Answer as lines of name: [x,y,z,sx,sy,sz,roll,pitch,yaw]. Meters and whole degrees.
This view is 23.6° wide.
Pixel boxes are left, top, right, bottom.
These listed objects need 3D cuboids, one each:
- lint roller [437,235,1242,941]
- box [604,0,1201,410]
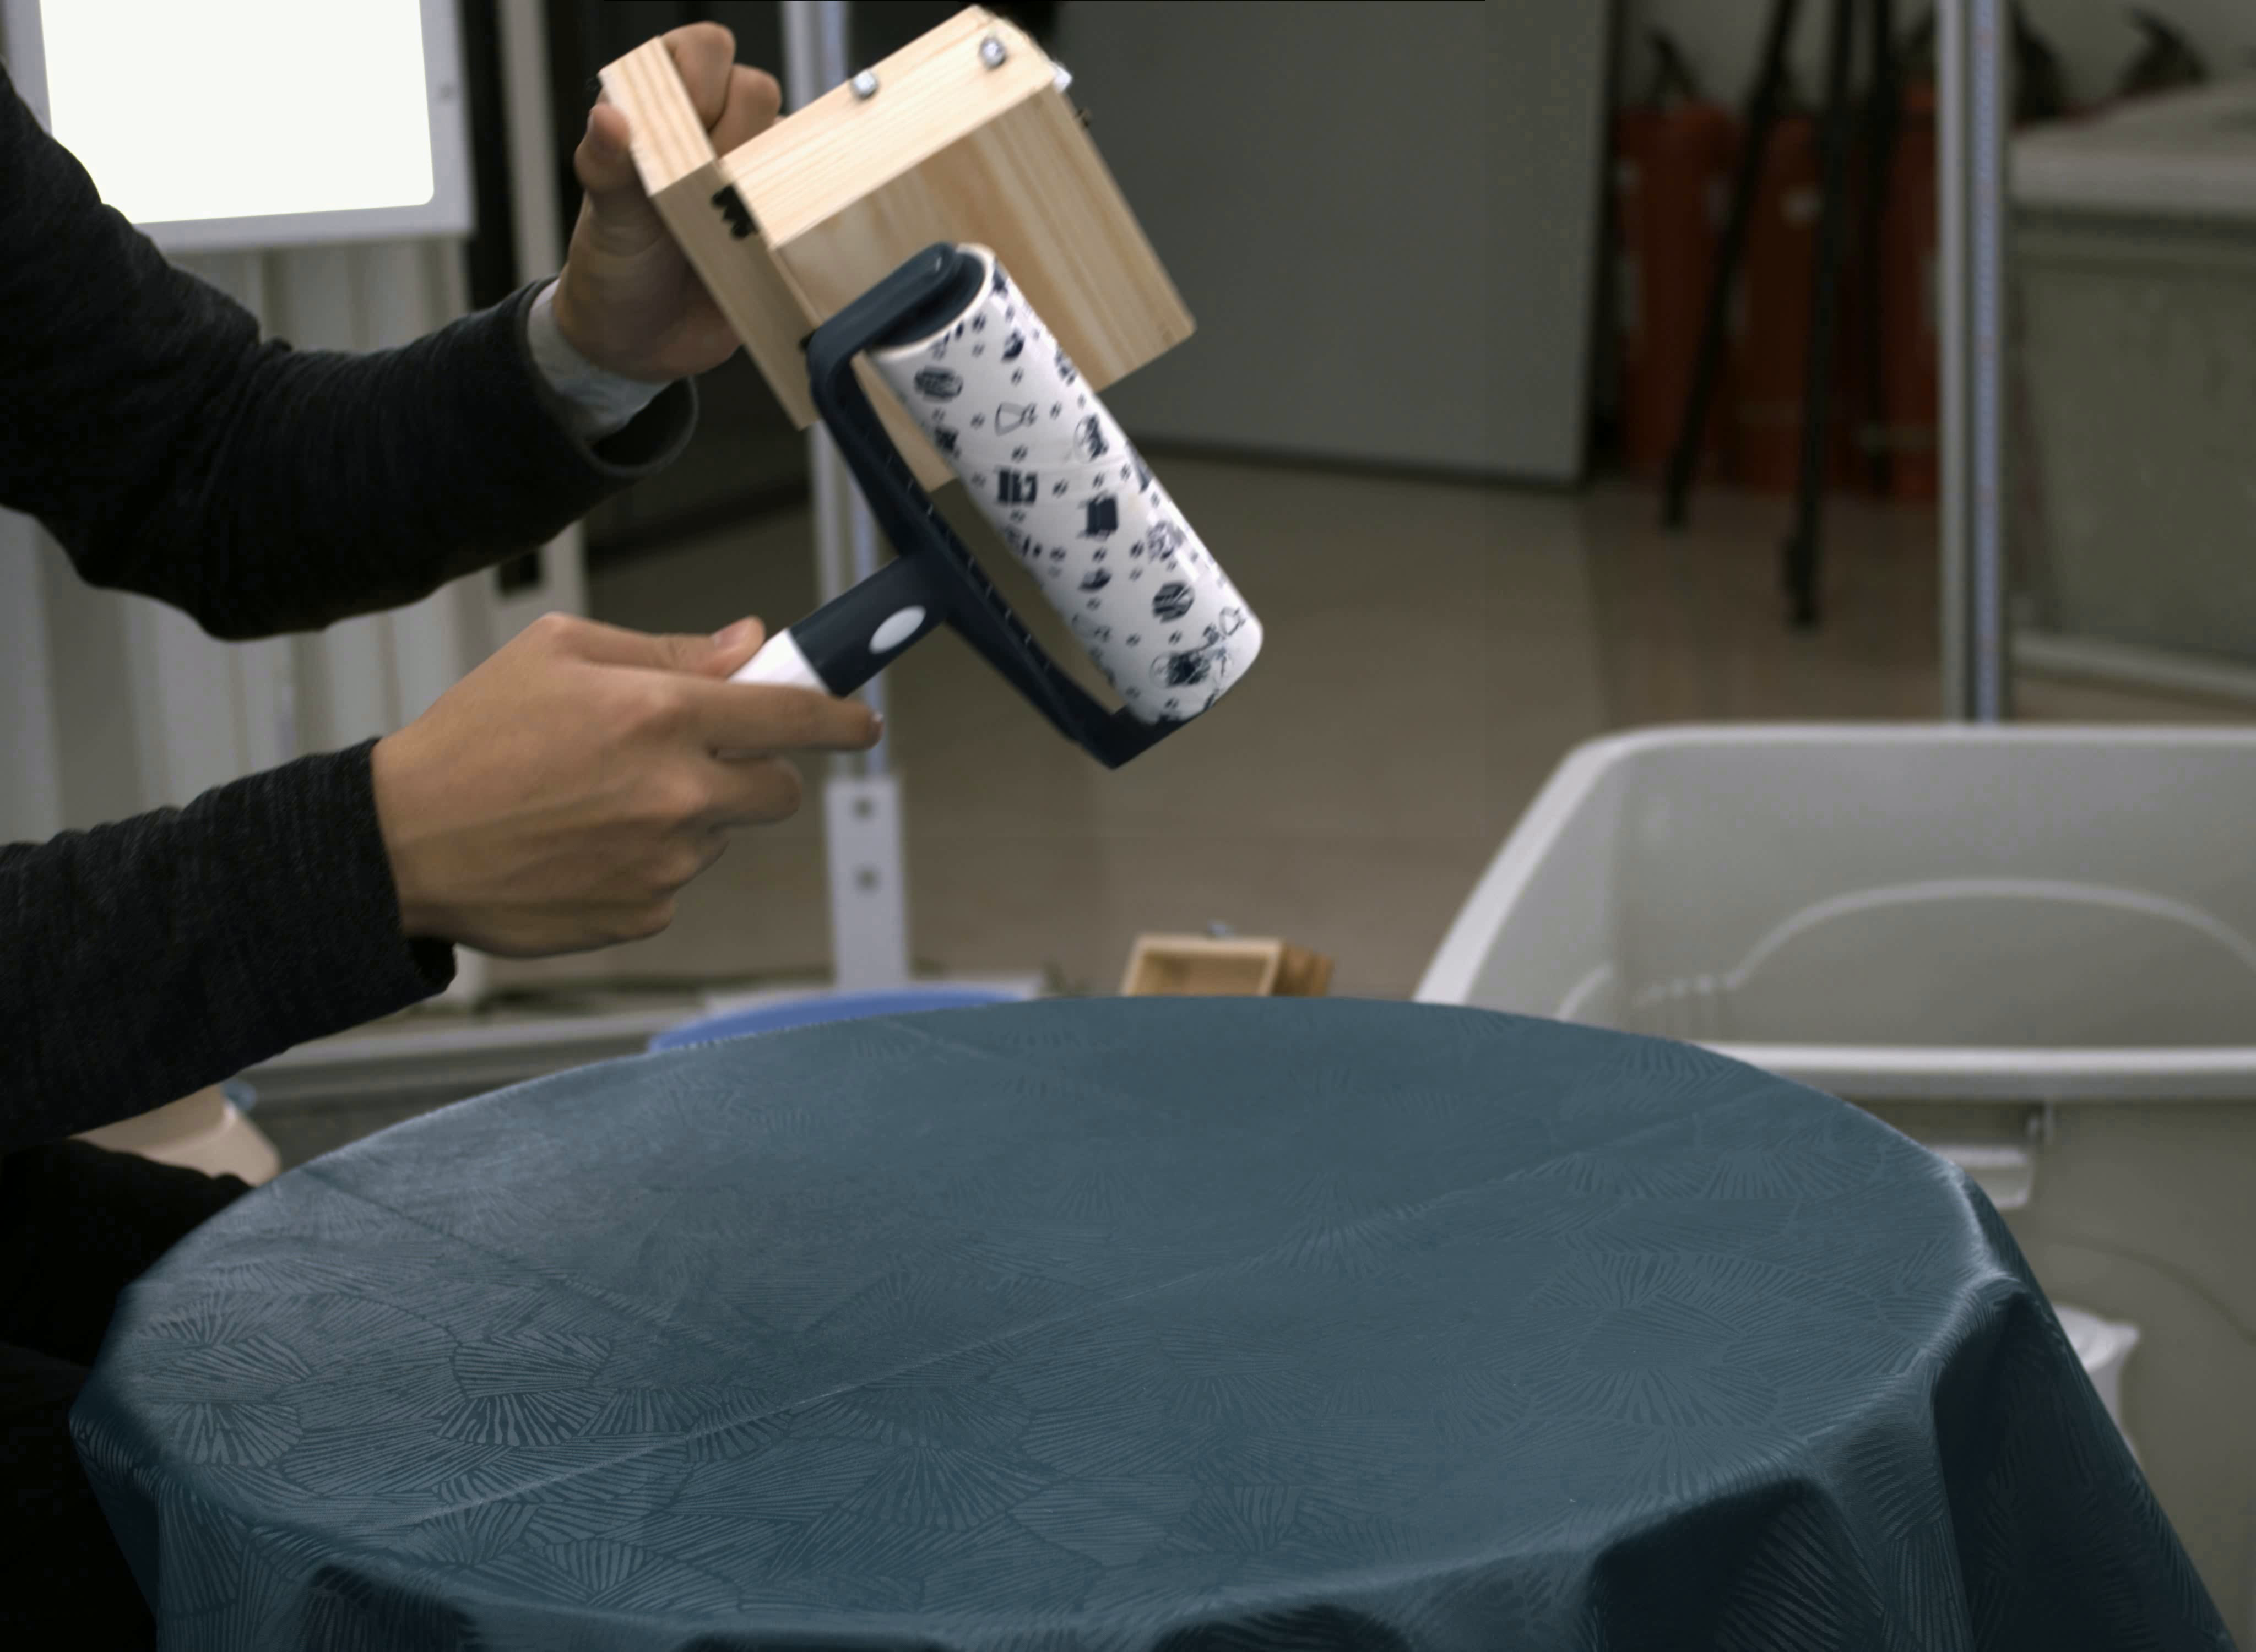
lint roller: [-0.101,-0.040,1.605,0.246,0.175,0.051,-38,34,3]
box: [-0.074,-0.210,1.735,0.133,0.102,0.186,-32,31,0]
